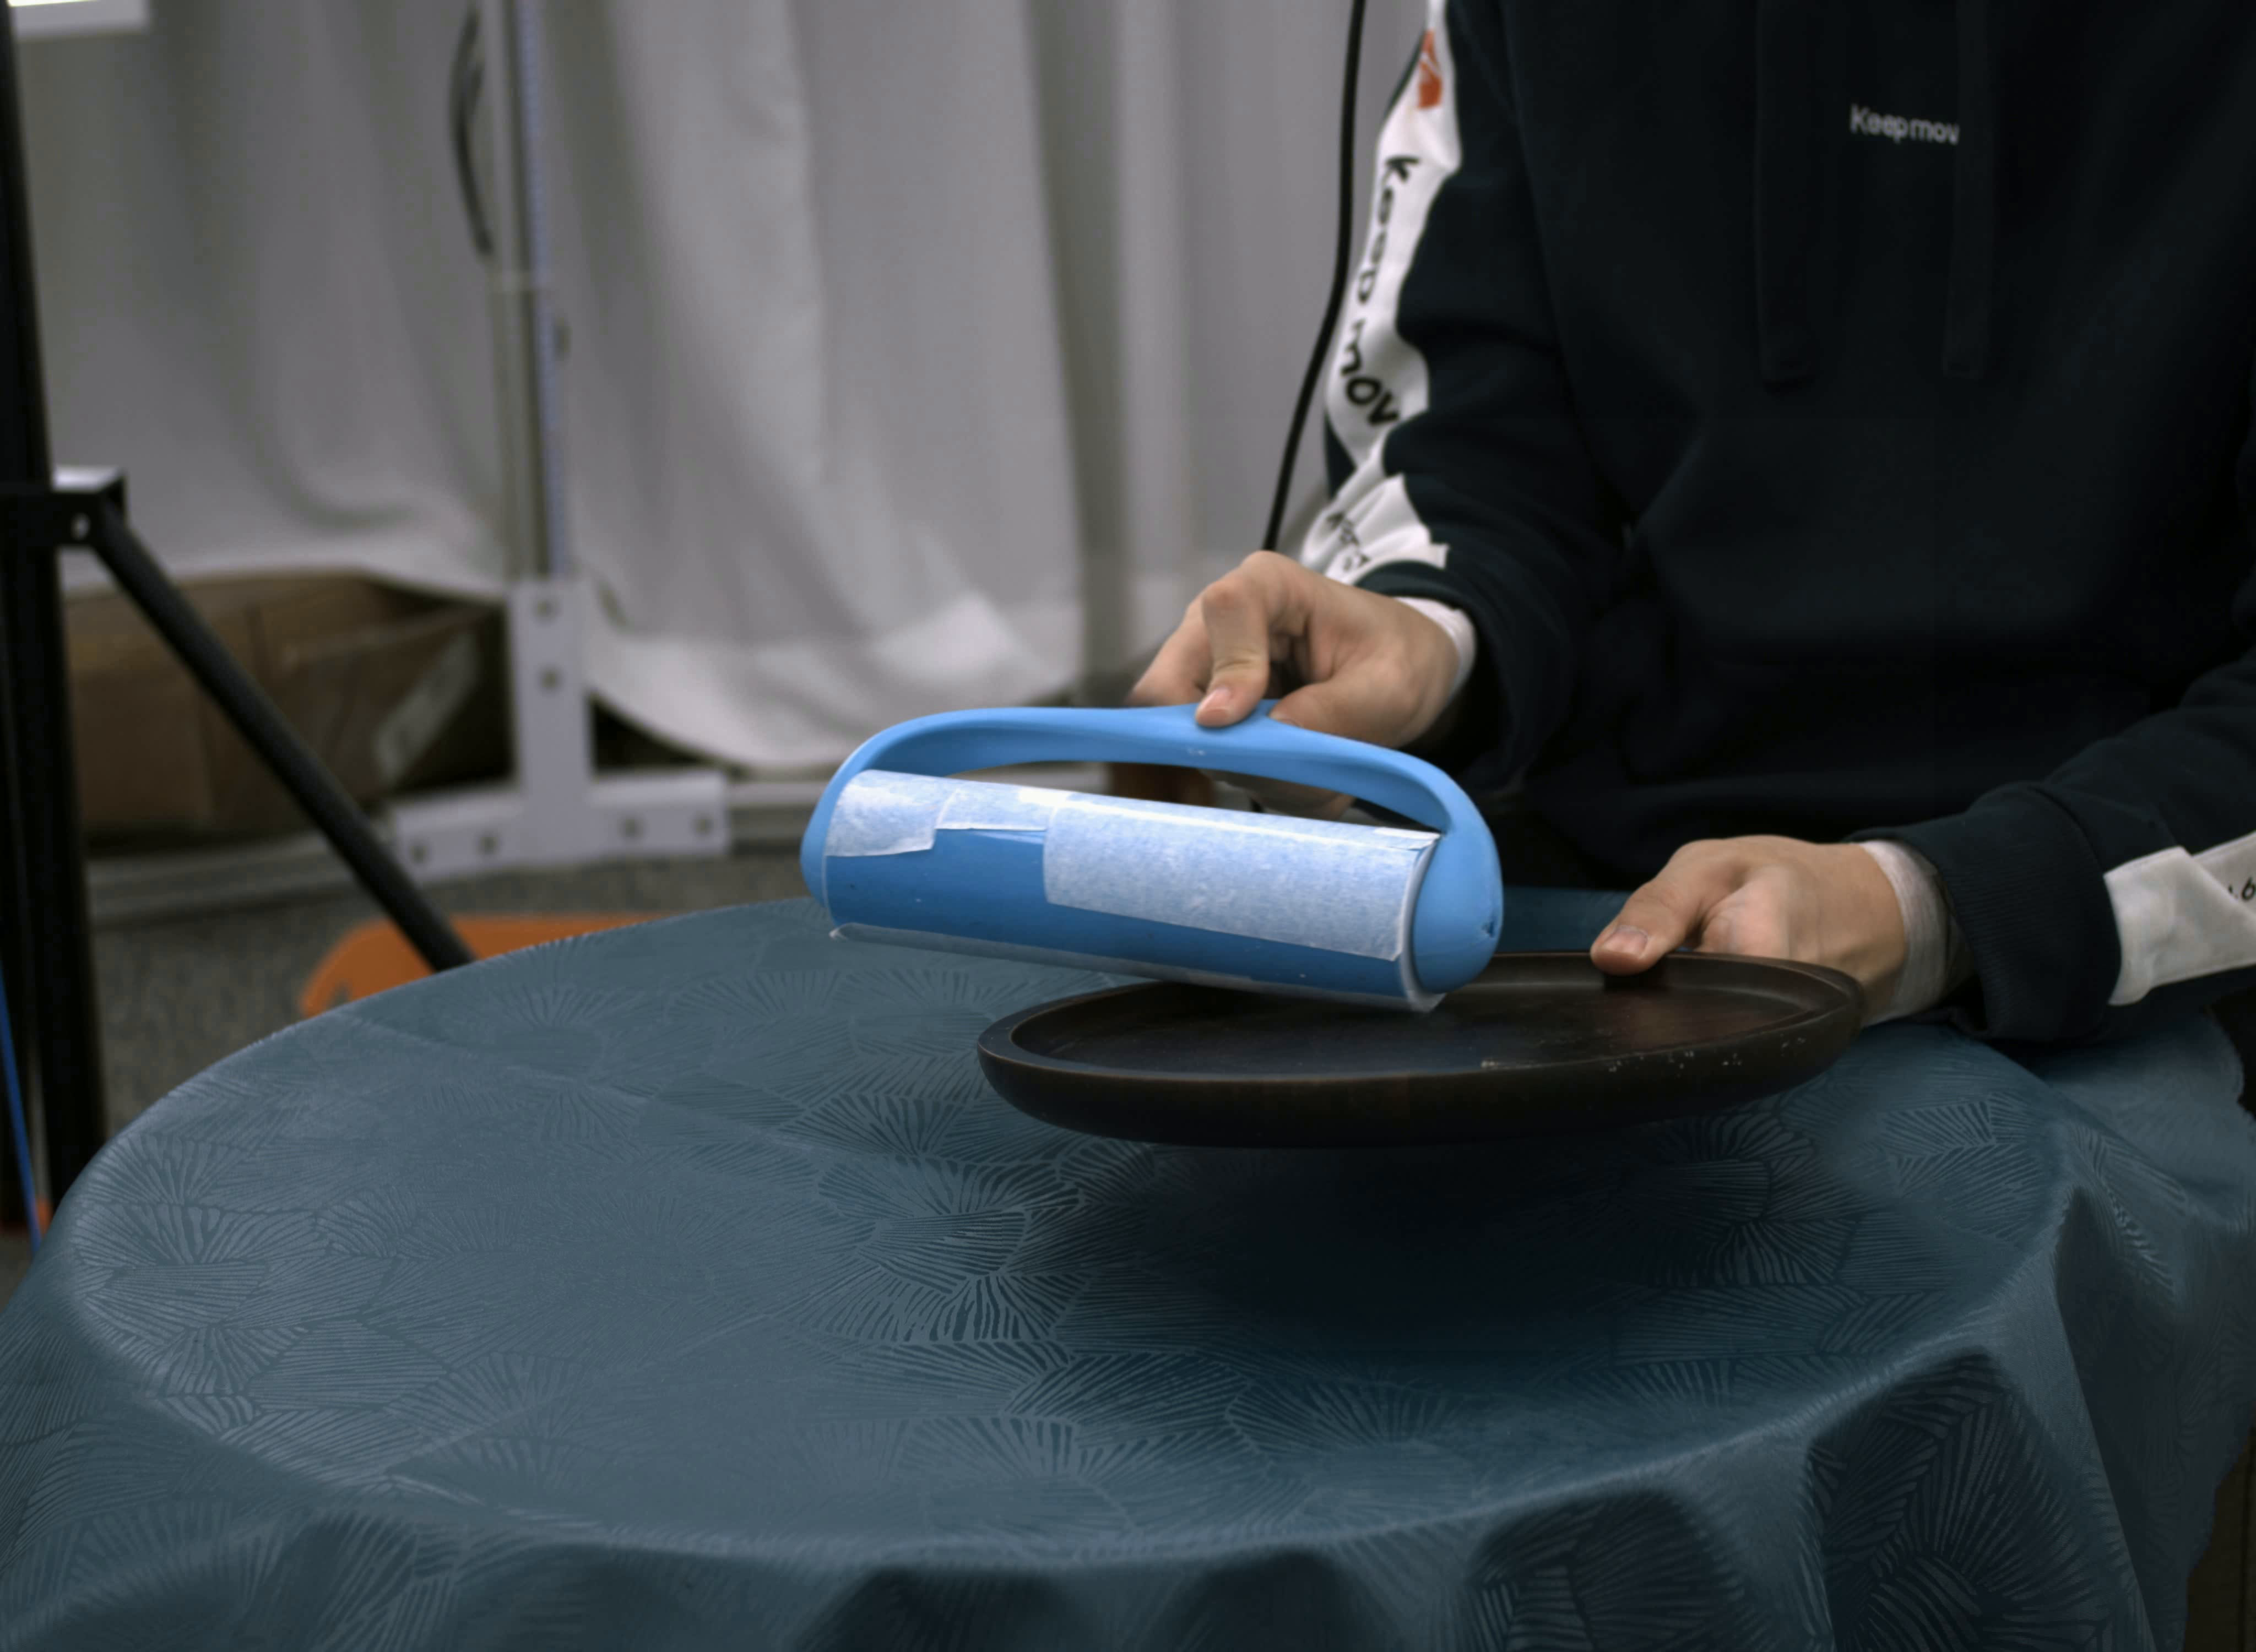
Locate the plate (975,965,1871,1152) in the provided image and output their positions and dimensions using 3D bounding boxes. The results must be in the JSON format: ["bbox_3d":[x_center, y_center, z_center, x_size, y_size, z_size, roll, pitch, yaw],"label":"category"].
[{"bbox_3d":[0.083,0.063,1.500,0.253,0.029,0.255,-3,6,-1],"label":"plate"}]

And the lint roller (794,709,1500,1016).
[{"bbox_3d":[0.025,-0.005,1.648,0.232,0.067,0.178,4,25,24],"label":"lint roller"}]
